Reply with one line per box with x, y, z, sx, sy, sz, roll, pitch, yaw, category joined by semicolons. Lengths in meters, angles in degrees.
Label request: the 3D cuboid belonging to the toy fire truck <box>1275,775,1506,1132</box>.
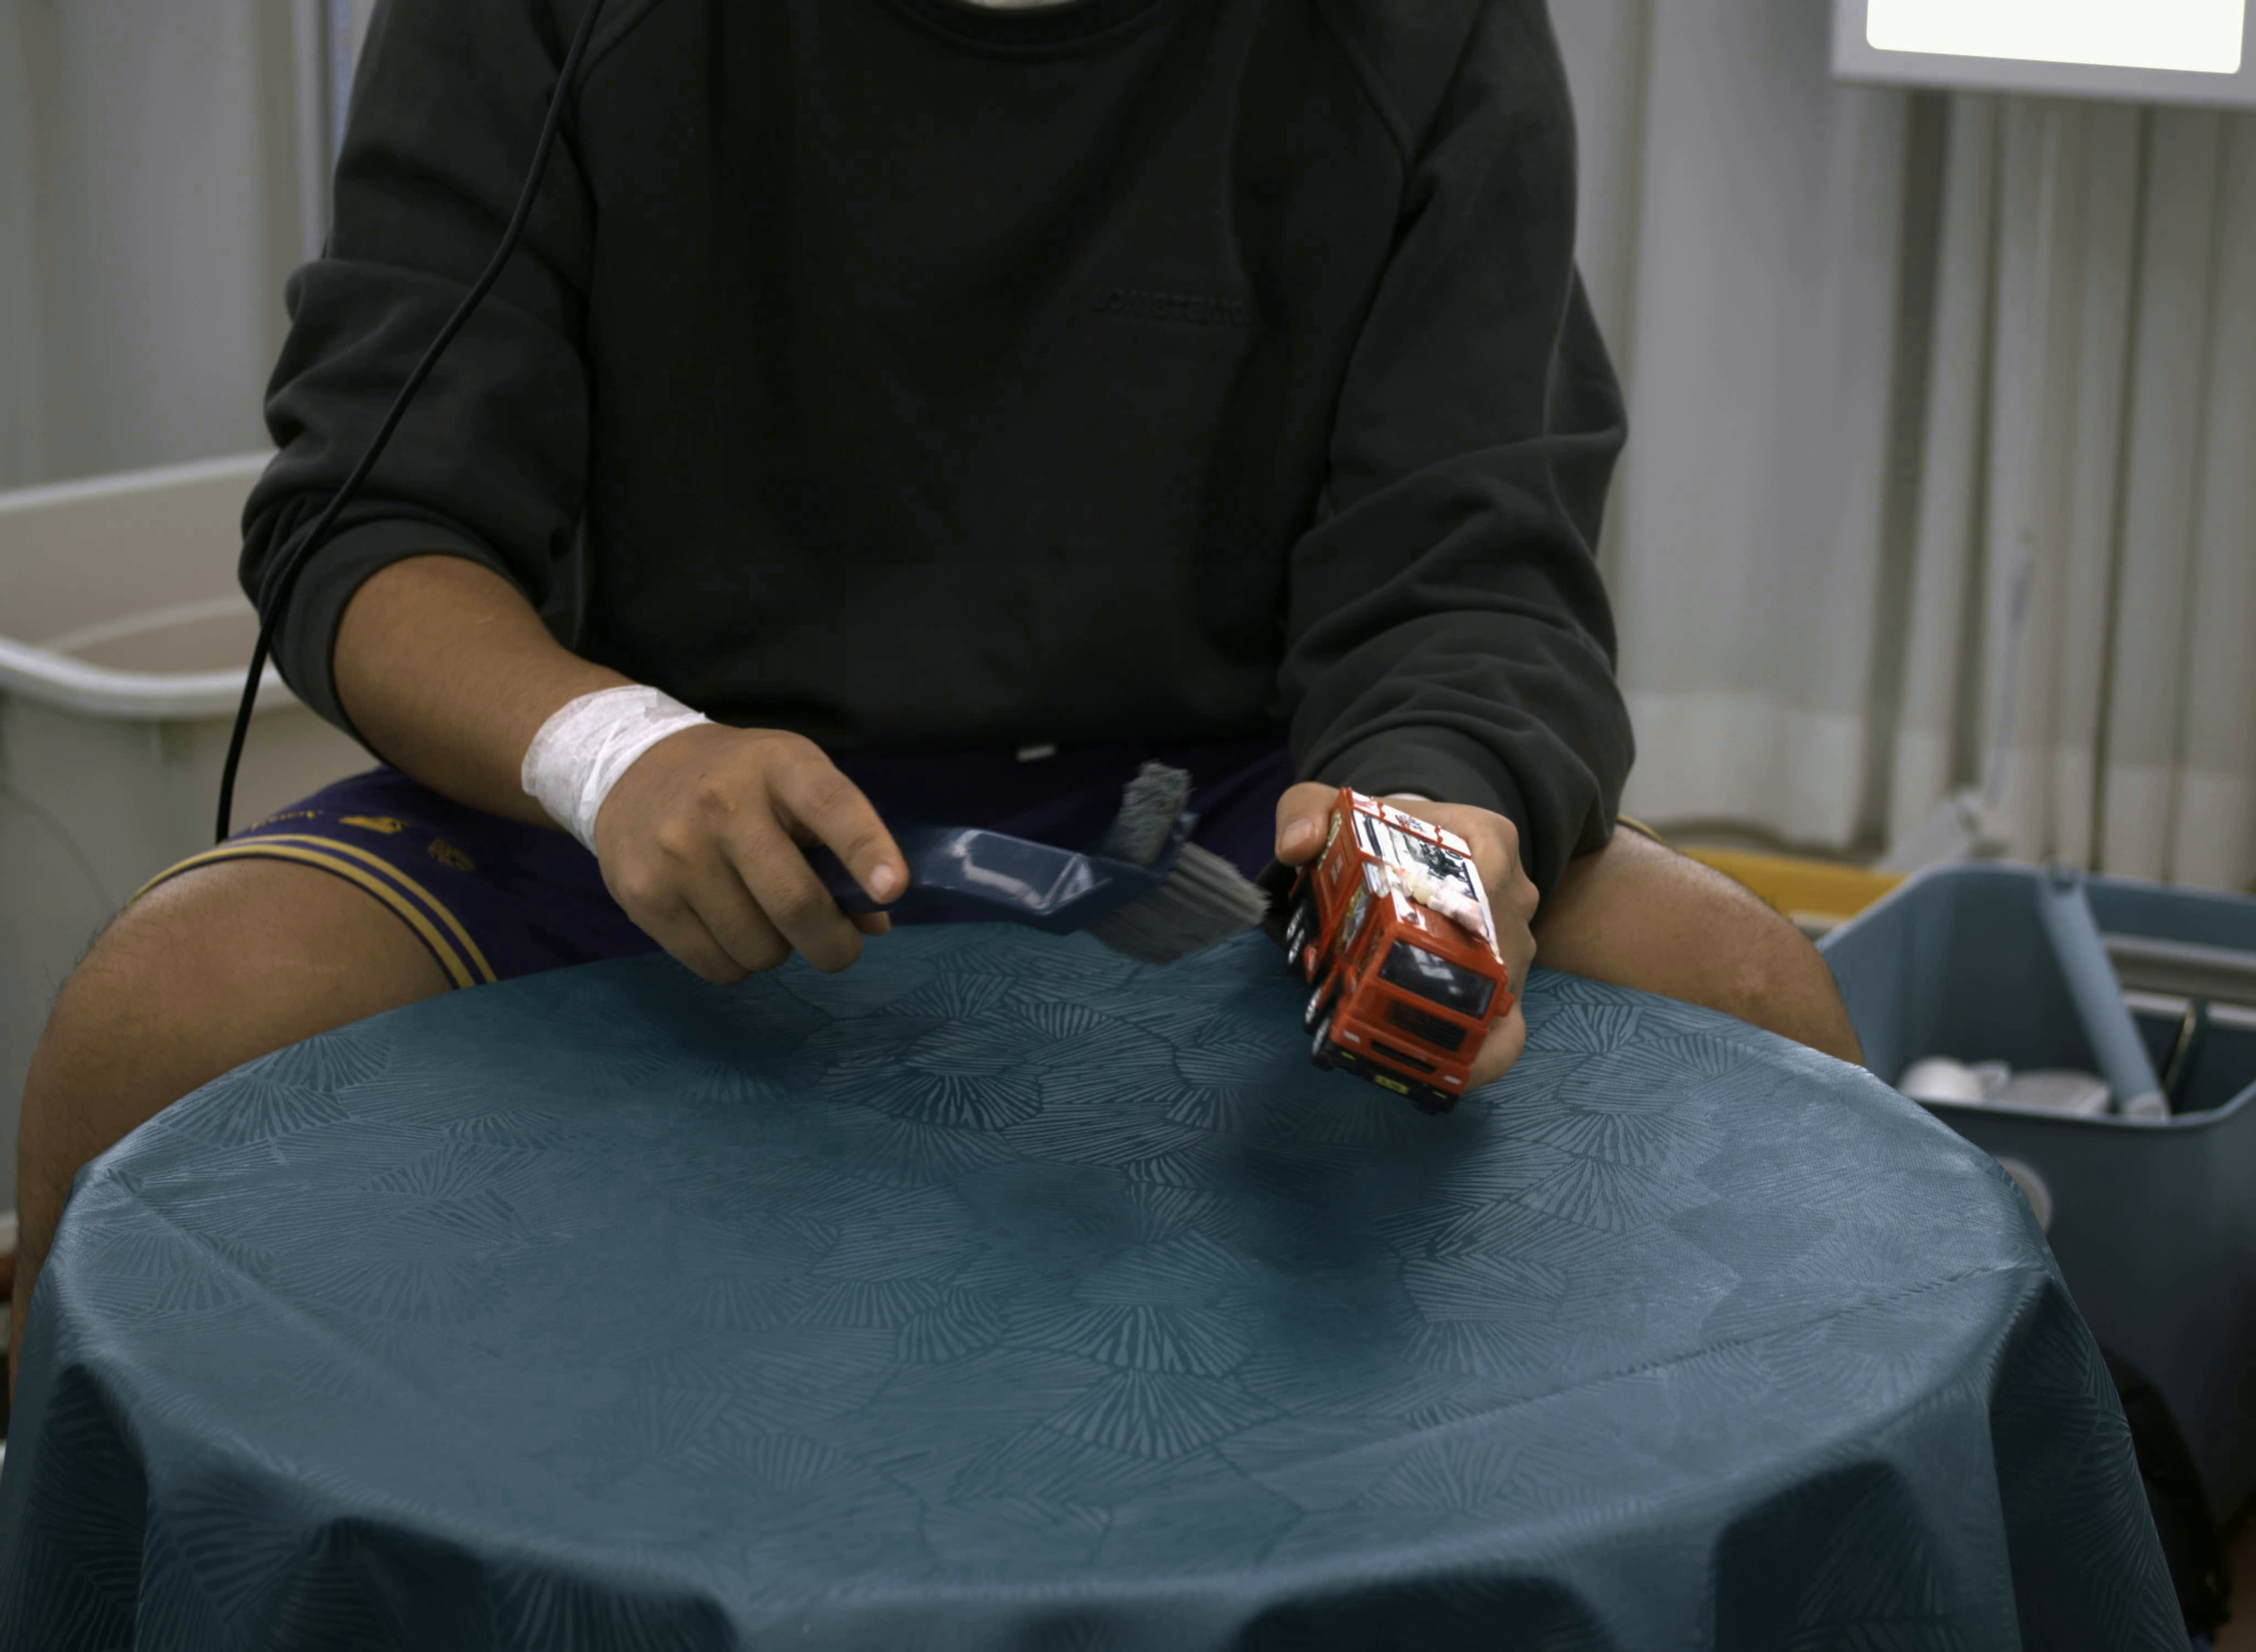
0.081;0.035;1.597;0.054;0.070;0.167;24;13;-9;toy fire truck

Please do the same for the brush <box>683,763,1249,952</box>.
-0.066;0.009;1.681;0.270;0.033;0.097;1;-31;44;brush
